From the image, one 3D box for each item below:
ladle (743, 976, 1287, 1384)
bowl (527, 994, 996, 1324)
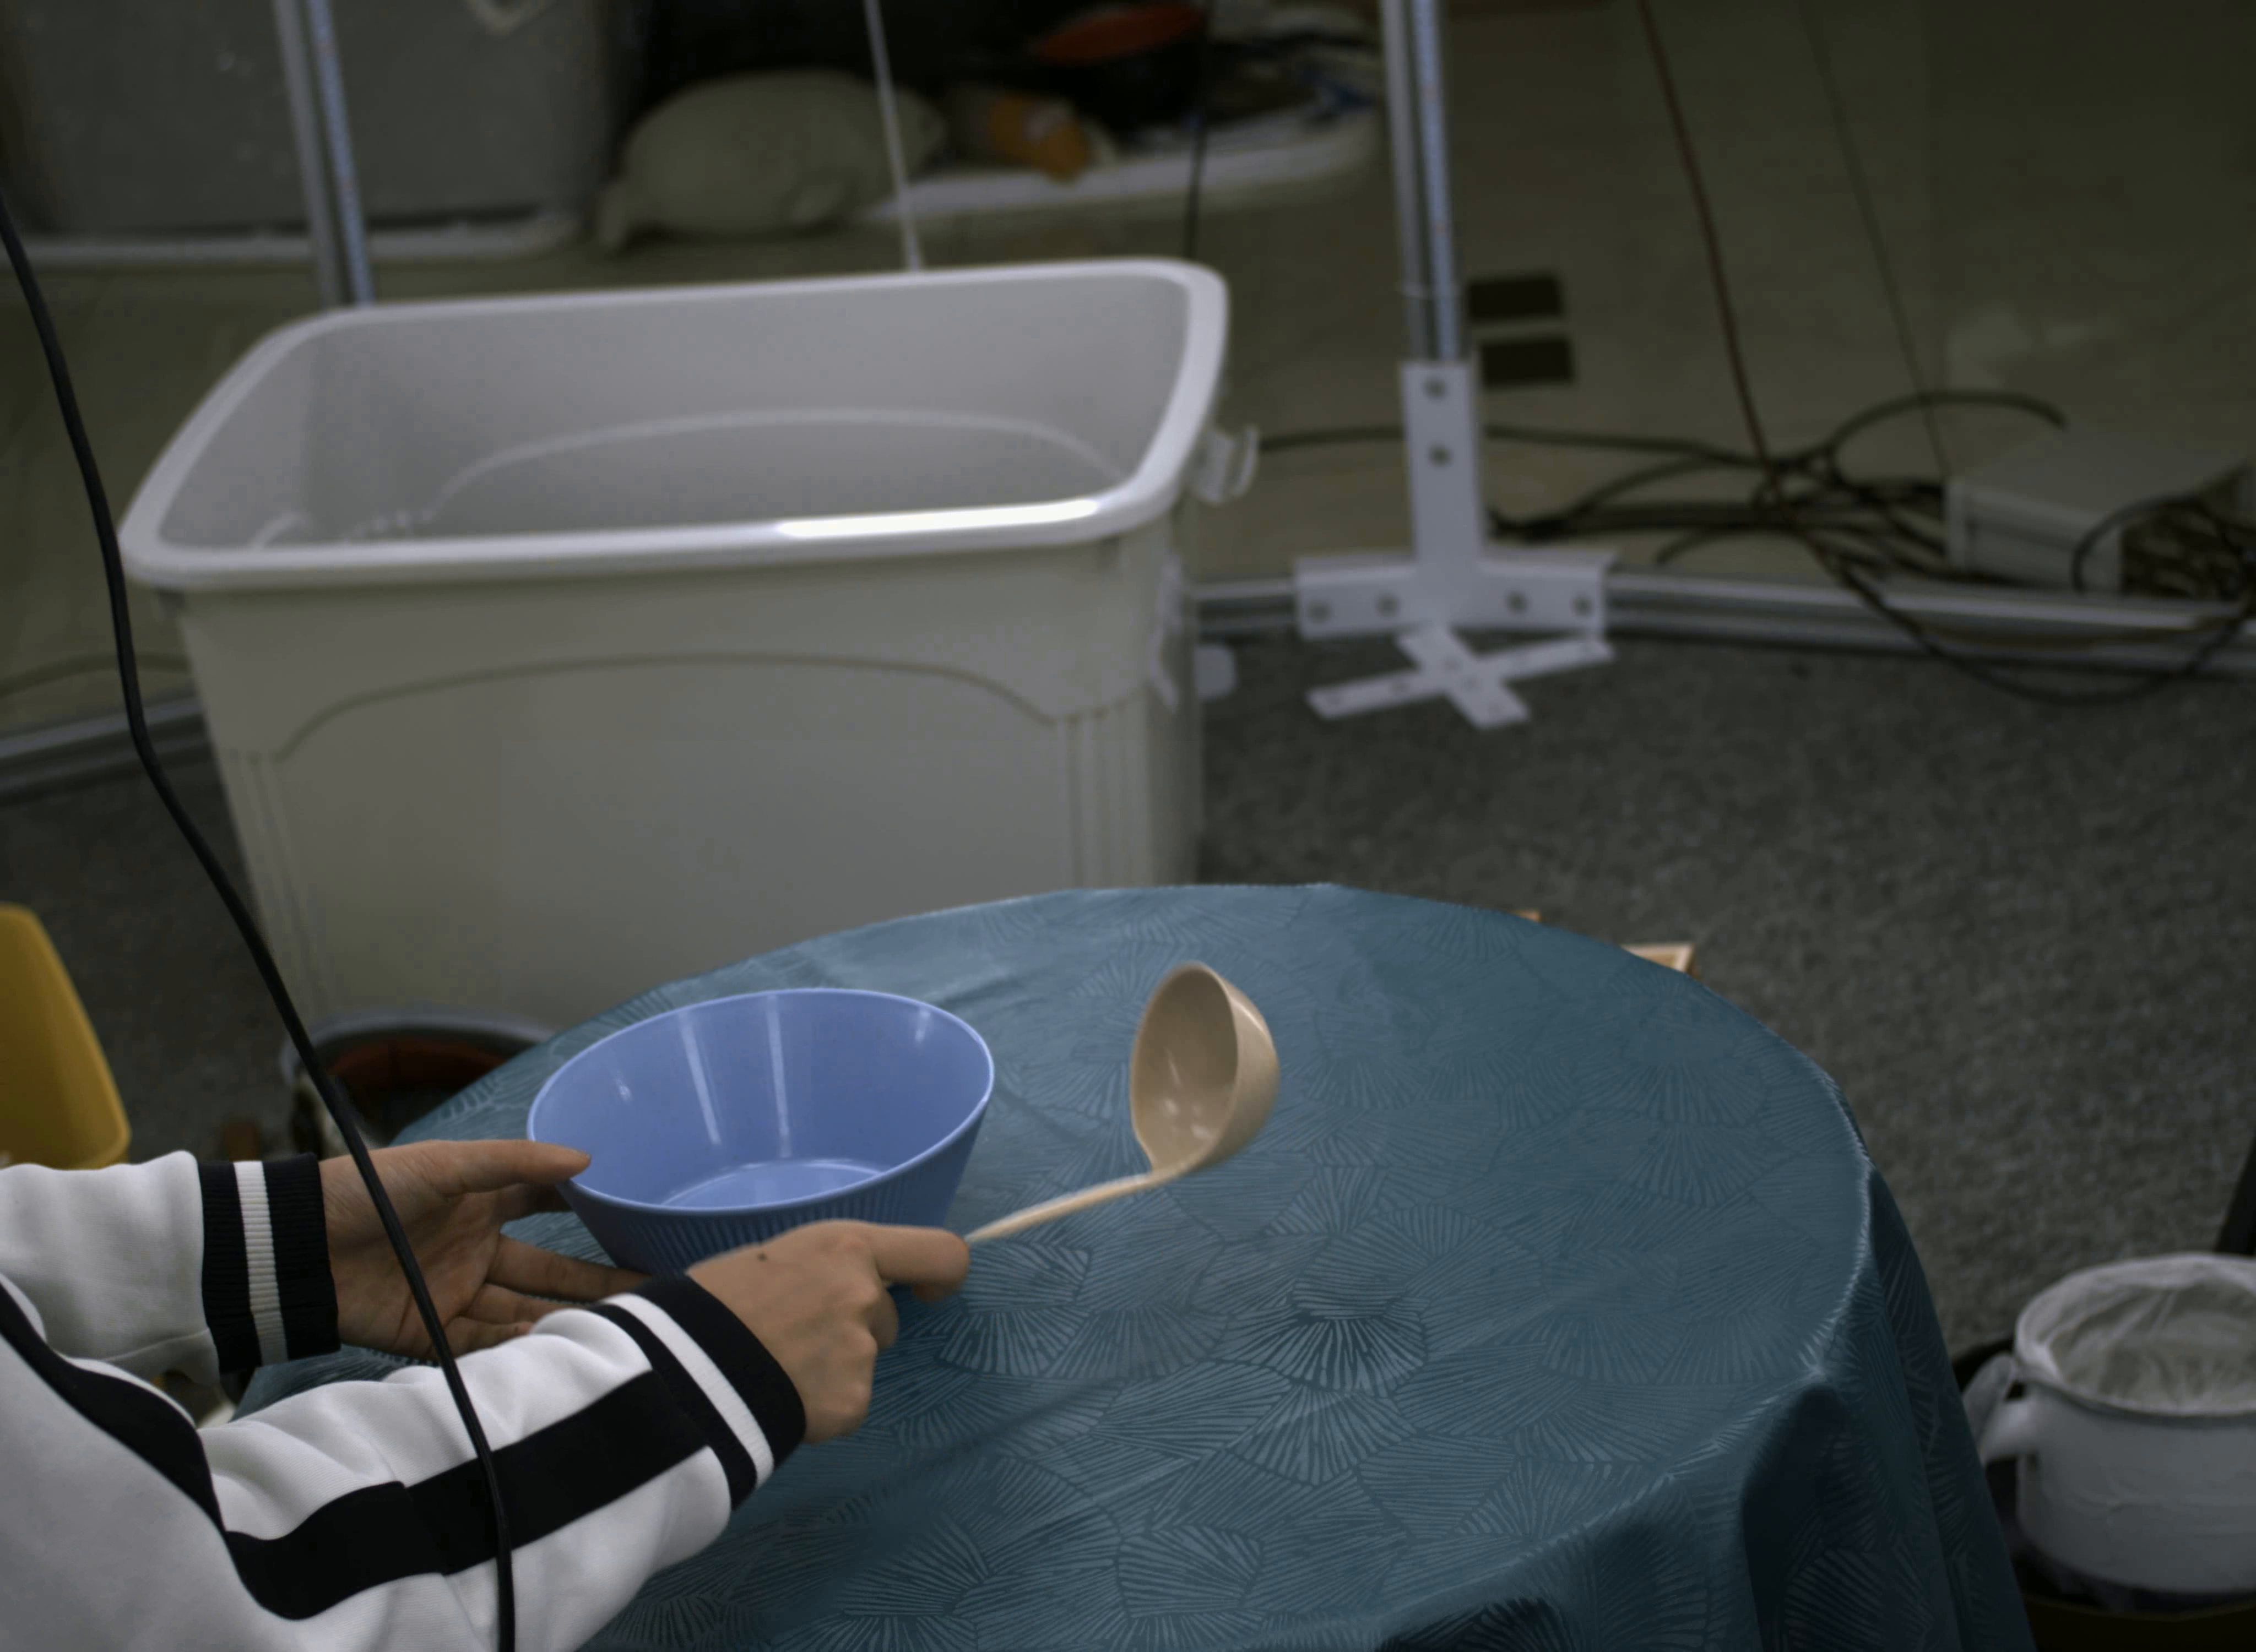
[{"bbox_3d":[-0.048,0.119,1.980,0.253,0.073,0.072,-20,-1,-39],"label":"ladle"},{"bbox_3d":[-0.132,0.130,2.116,0.176,0.071,0.173,-6,24,3],"label":"bowl"}]
